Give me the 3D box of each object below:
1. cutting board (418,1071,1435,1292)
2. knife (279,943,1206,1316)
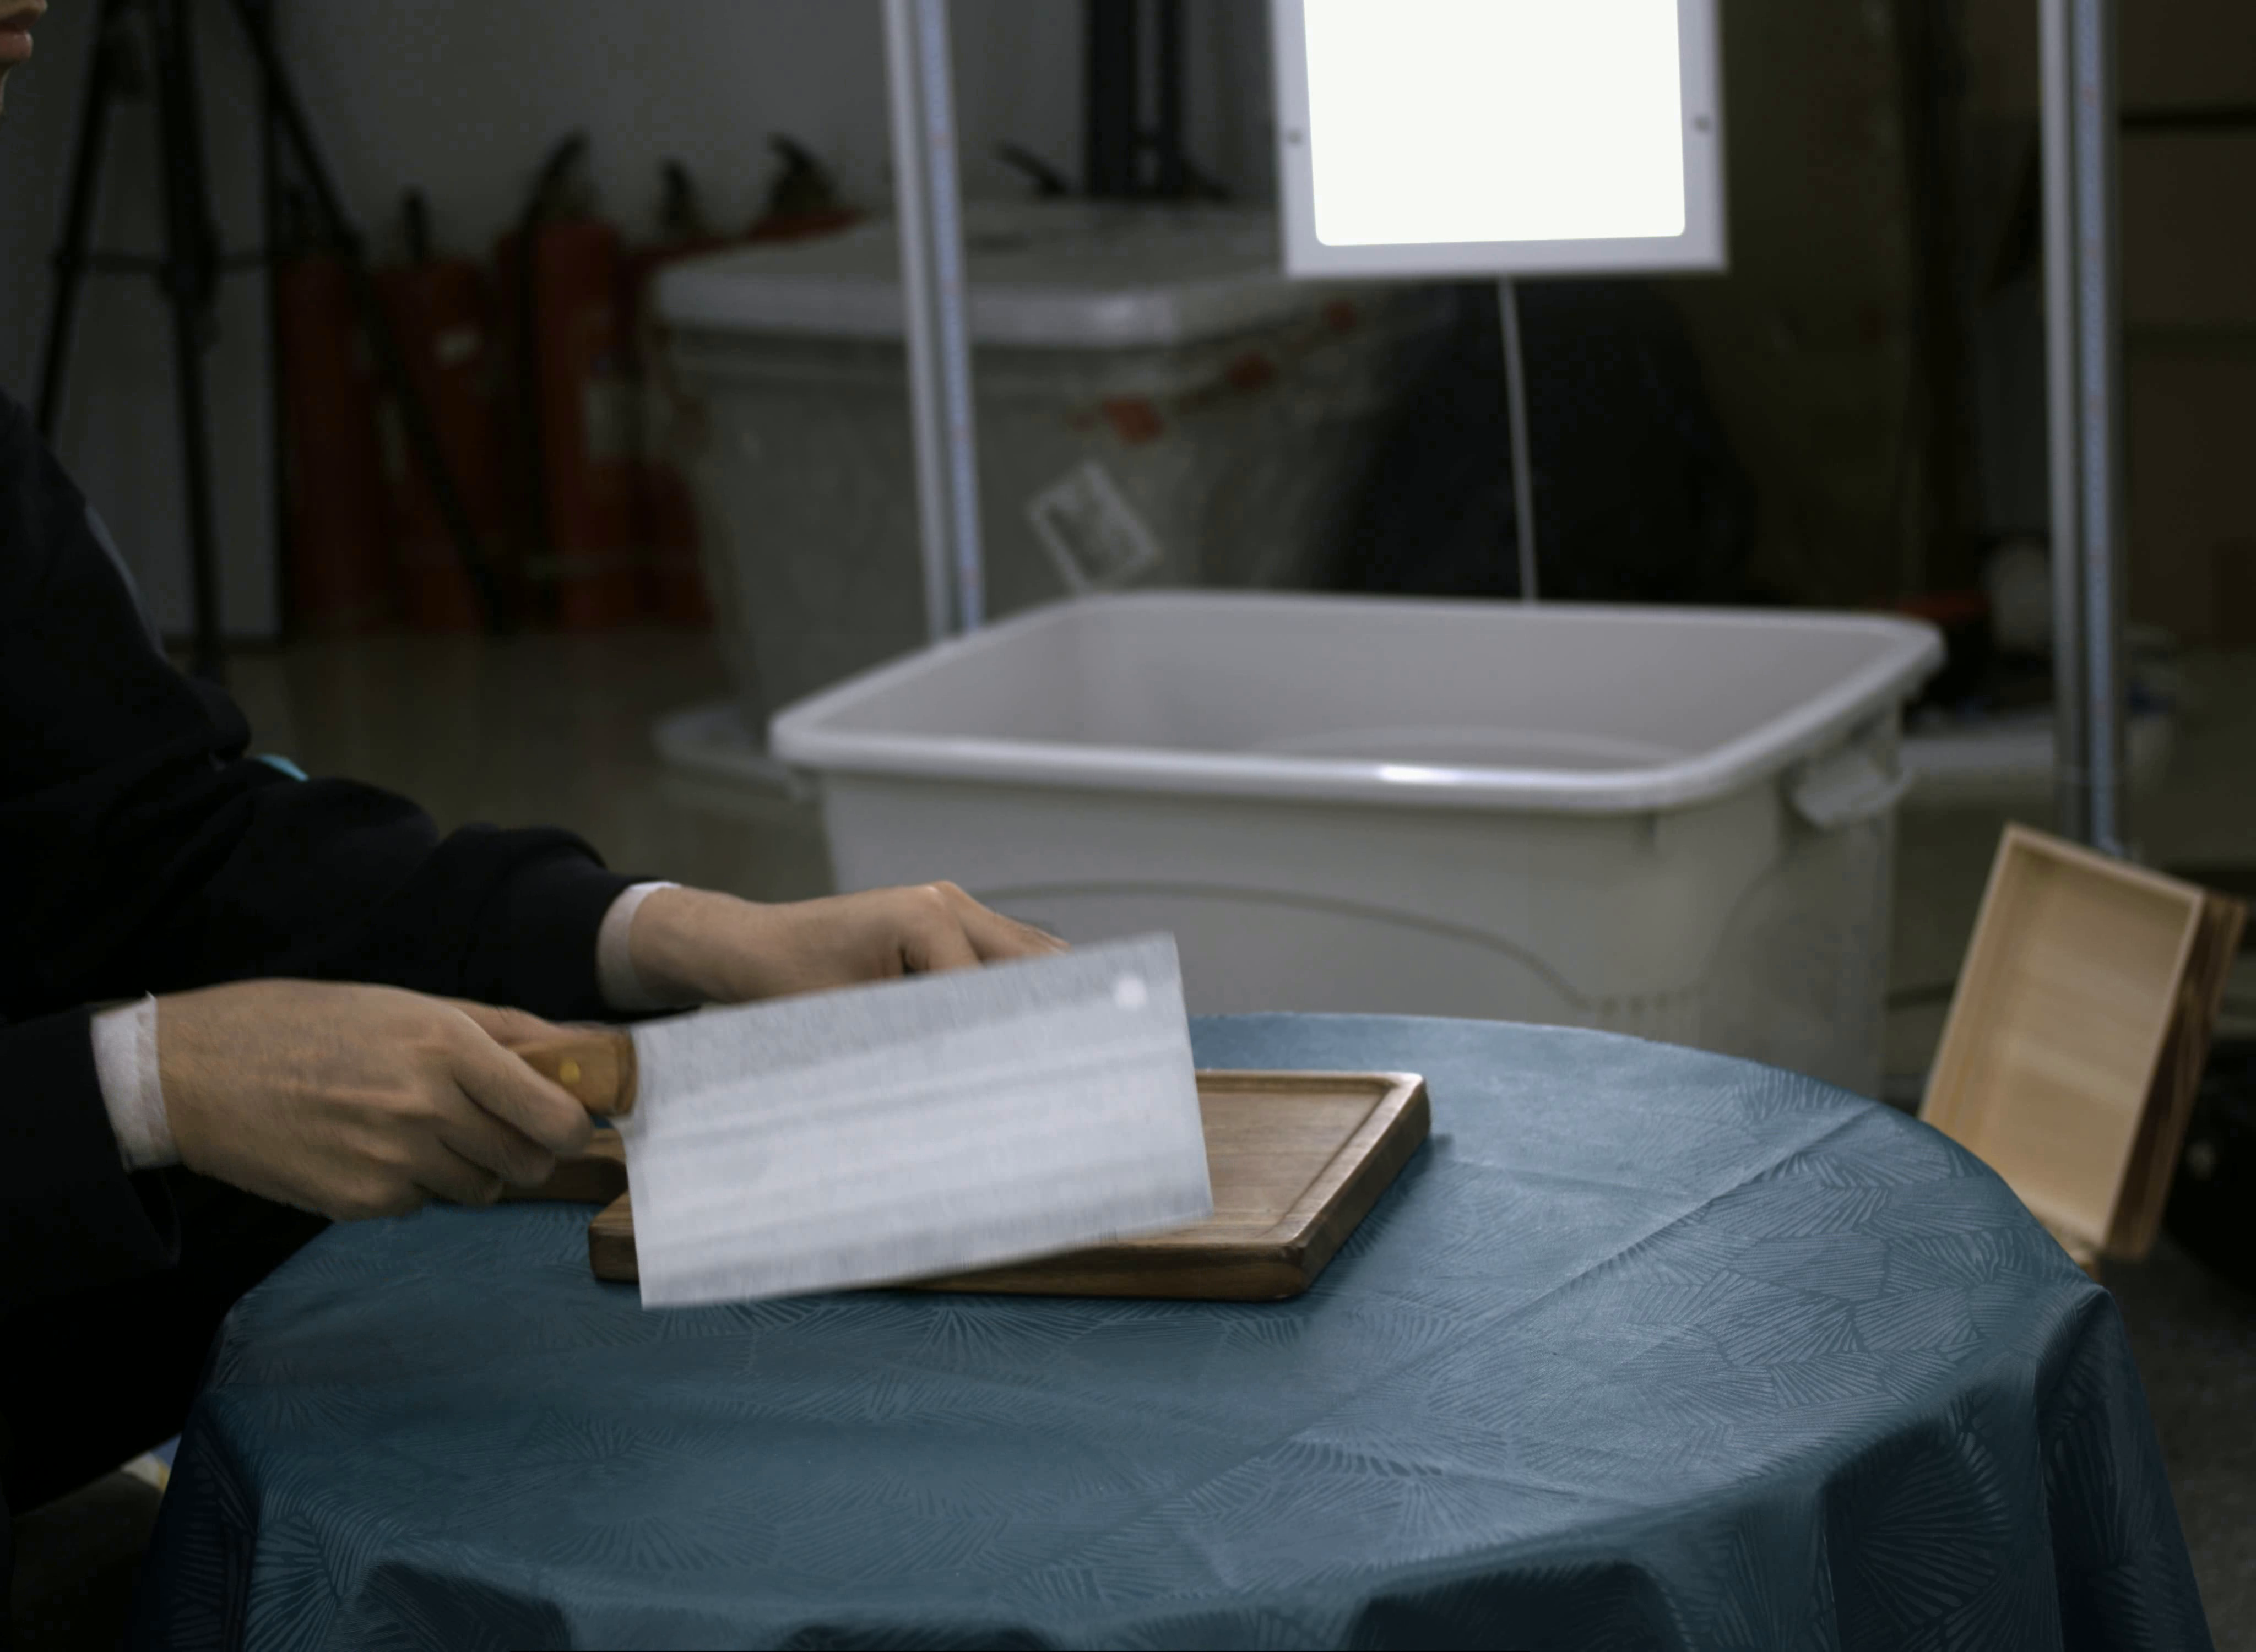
[{"bbox_3d":[-0.082,0.120,1.911,0.356,0.023,0.198,-1,14,19],"label":"cutting board"},{"bbox_3d":[-0.123,0.103,1.725,0.309,0.093,0.020,-10,-9,18],"label":"knife"}]
